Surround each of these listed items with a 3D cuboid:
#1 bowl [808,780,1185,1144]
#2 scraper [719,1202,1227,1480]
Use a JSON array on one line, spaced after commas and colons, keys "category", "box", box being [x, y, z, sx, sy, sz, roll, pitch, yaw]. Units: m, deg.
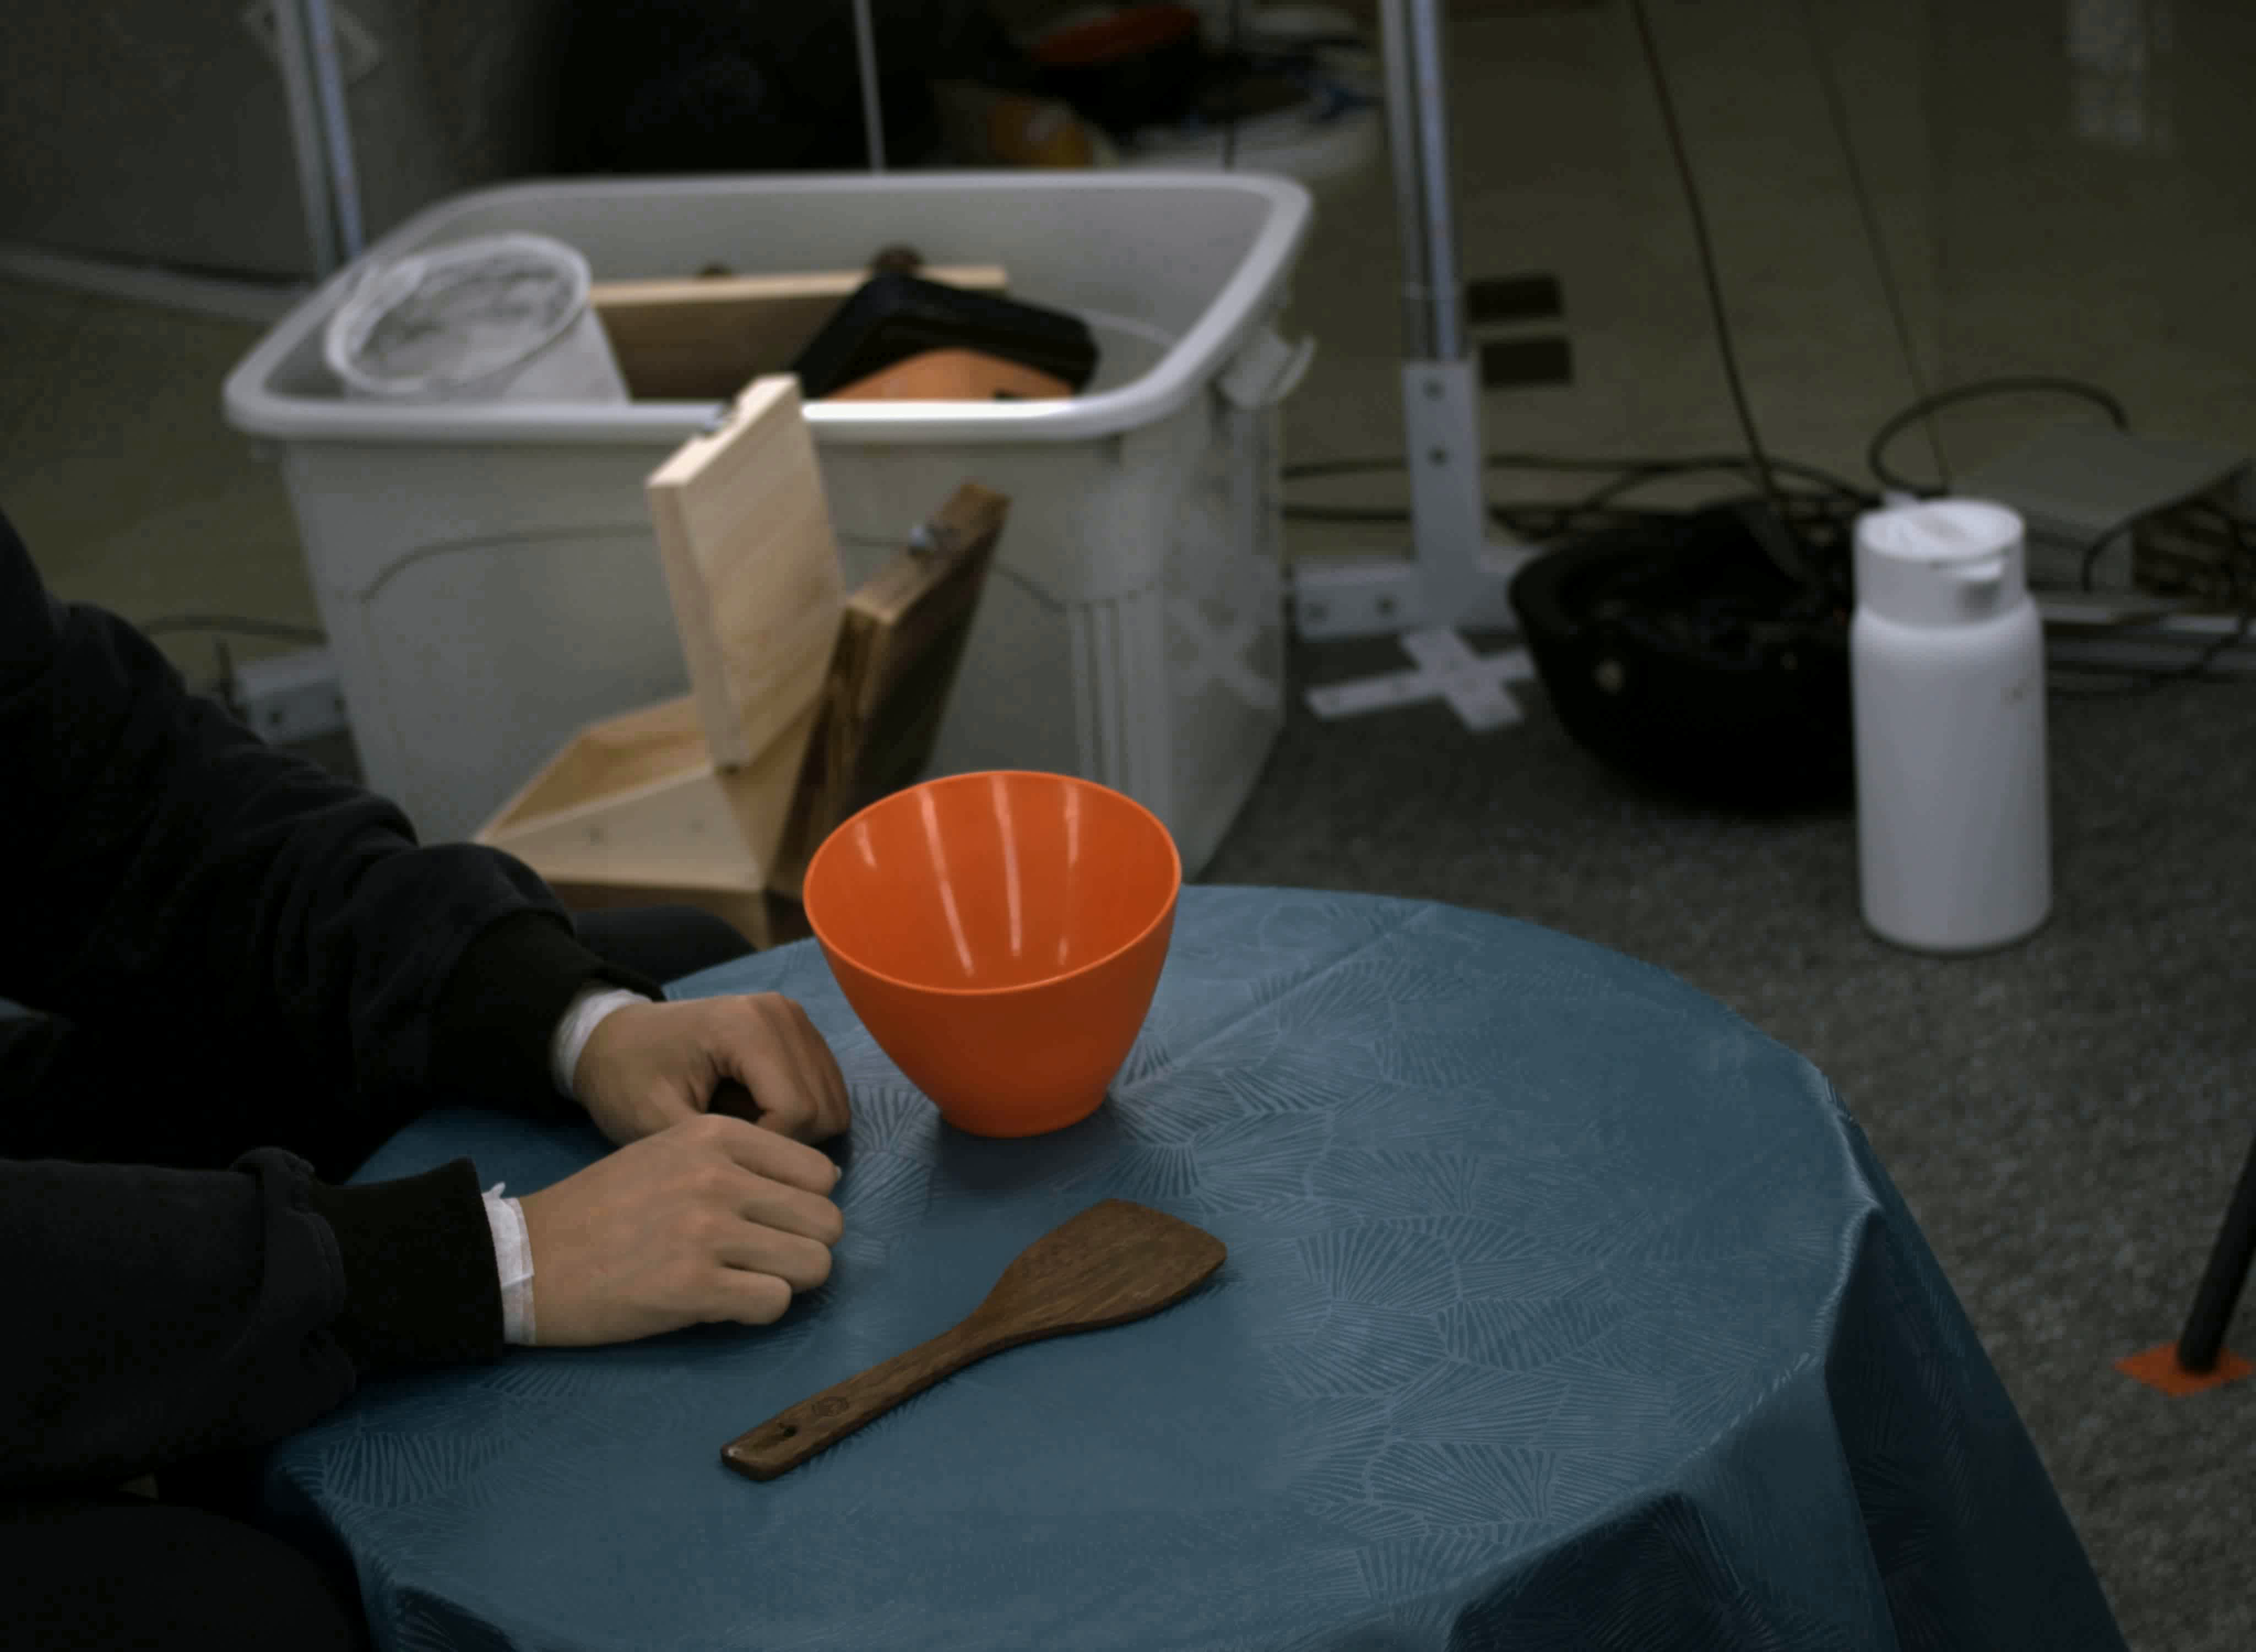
[{"category": "bowl", "box": [-0.047, 0.059, 2.216, 0.148, 0.106, 0.146, -5, 25, 2]}, {"category": "scraper", "box": [-0.060, 0.188, 2.053, 0.209, 0.011, 0.075, -25, 30, -34]}]
